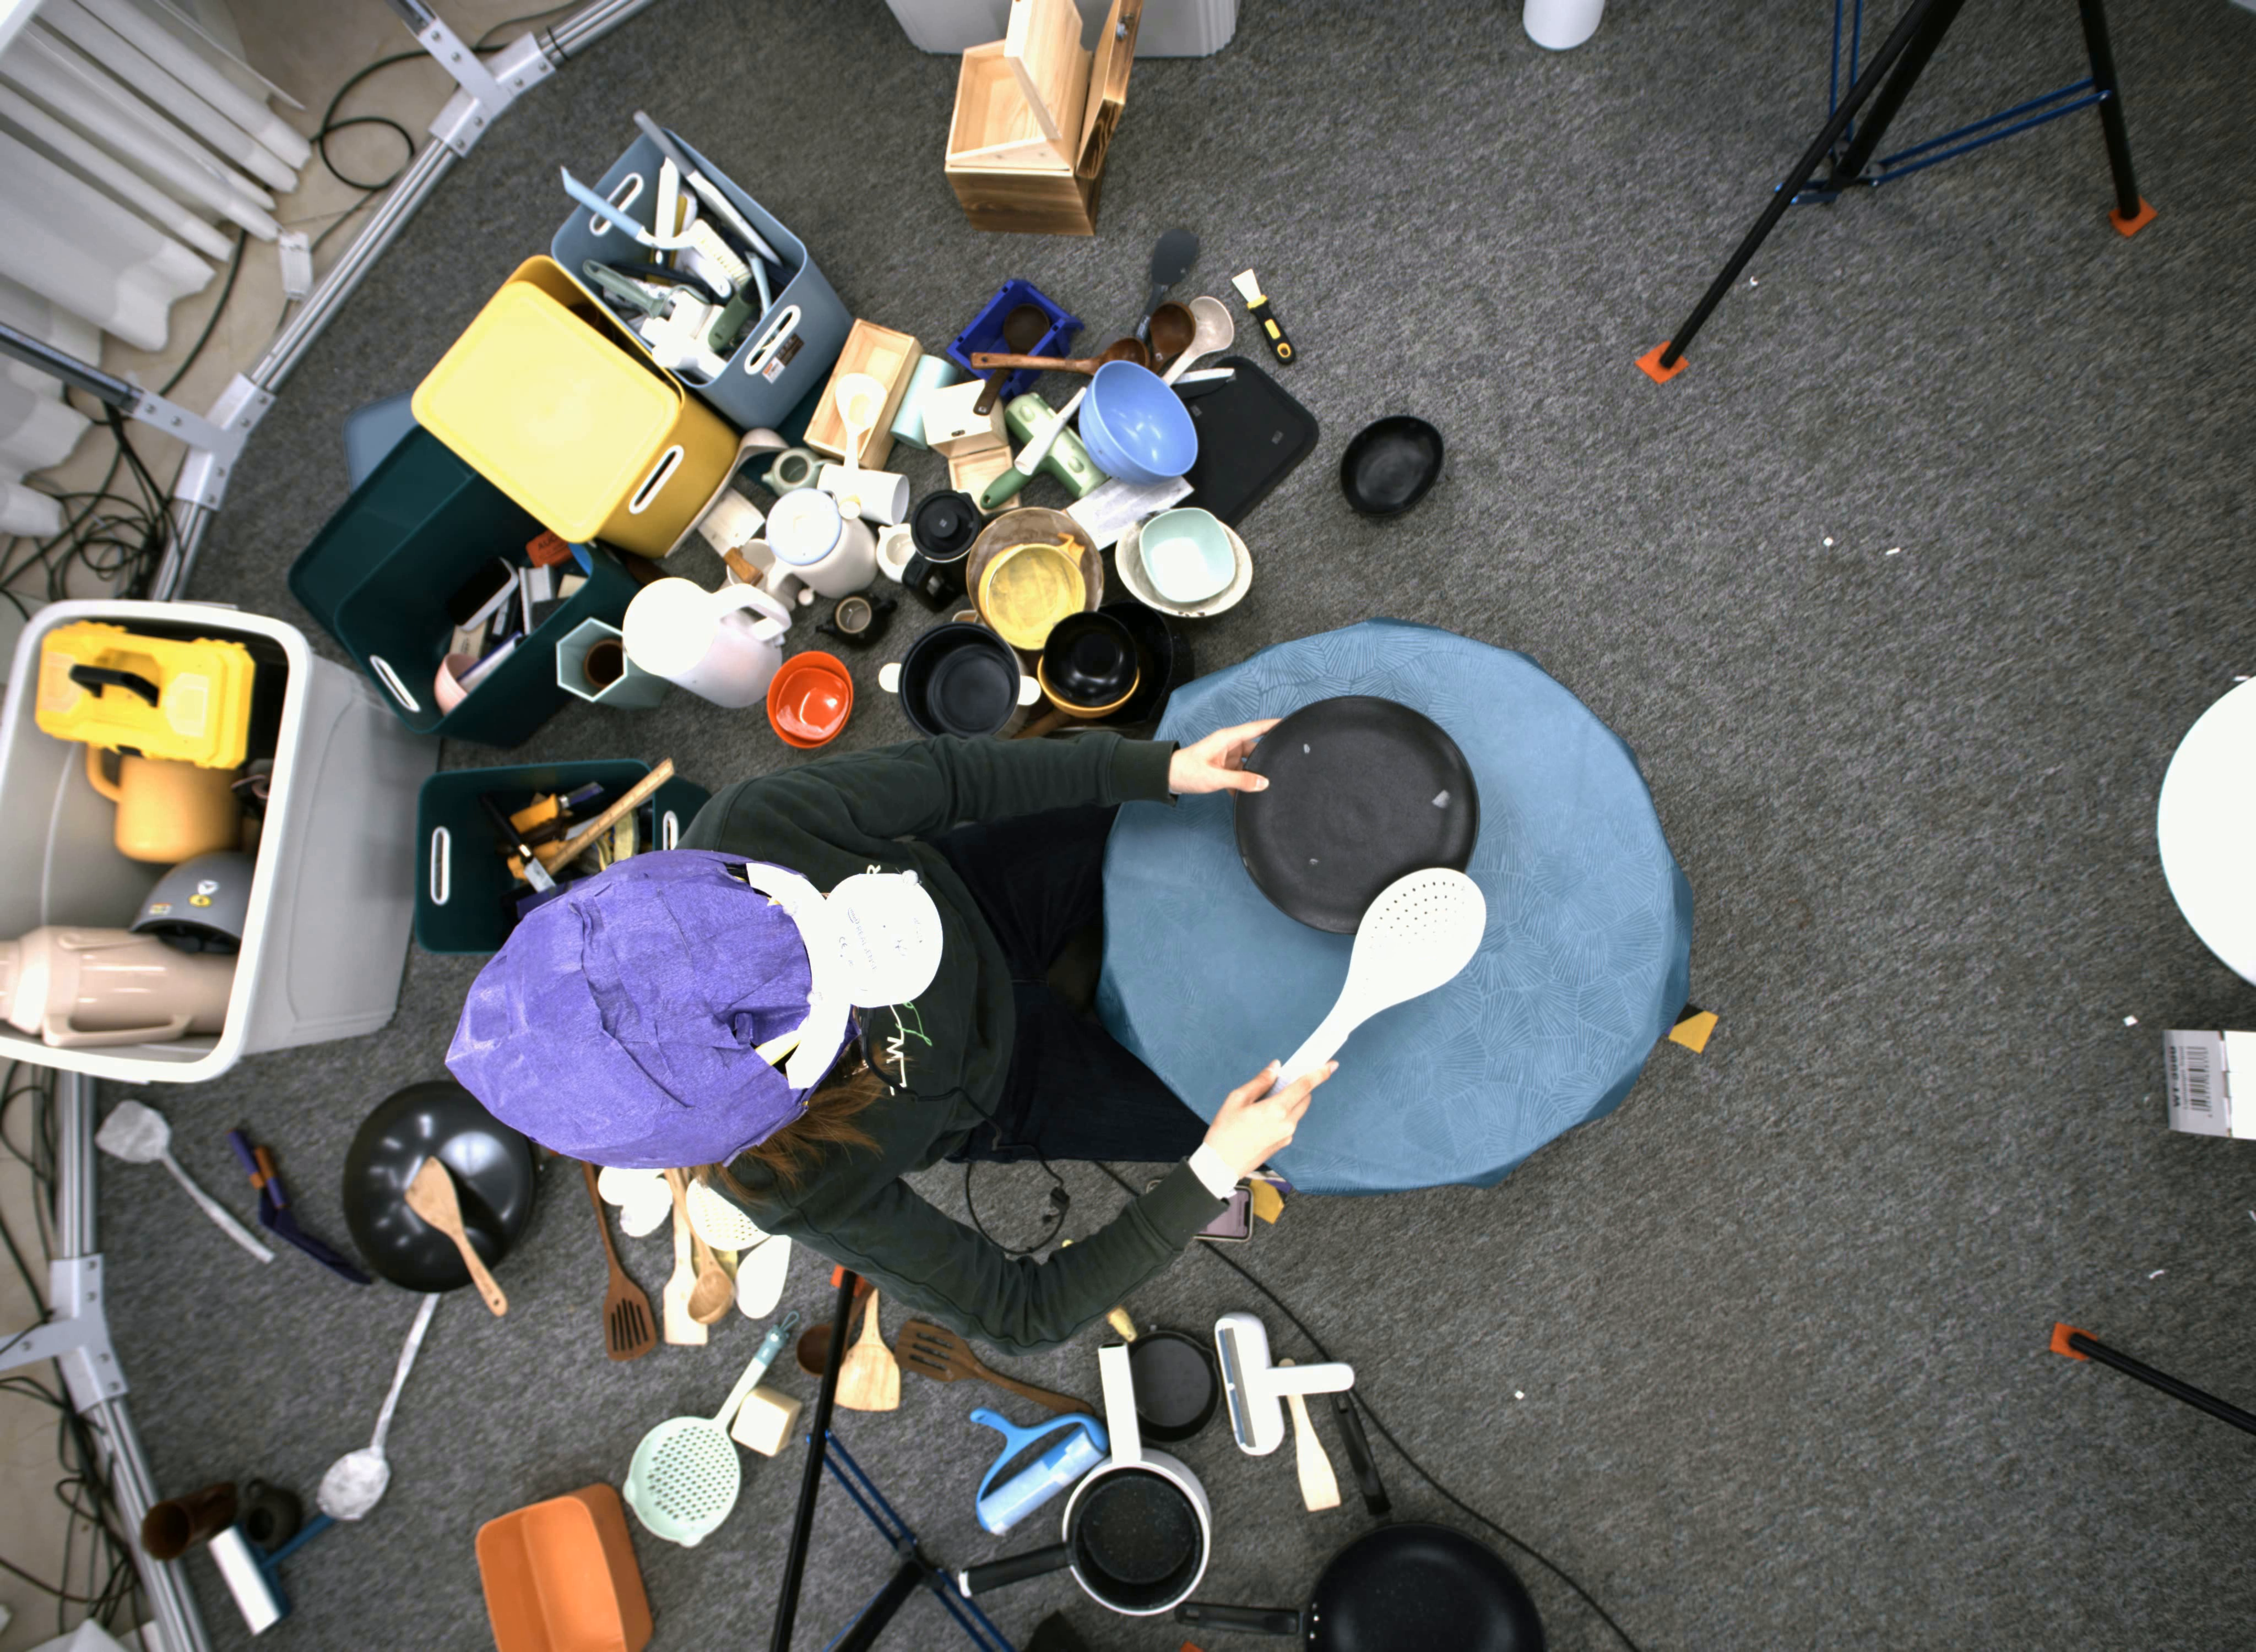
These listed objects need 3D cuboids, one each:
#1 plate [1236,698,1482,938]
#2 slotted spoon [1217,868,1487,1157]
[{"bbox_3d":[0.230,-0.009,1.383,0.245,0.023,0.247,2,103,8],"label":"plate"},{"bbox_3d":[0.211,0.181,1.321,0.349,0.046,0.134,-44,35,0],"label":"slotted spoon"}]
